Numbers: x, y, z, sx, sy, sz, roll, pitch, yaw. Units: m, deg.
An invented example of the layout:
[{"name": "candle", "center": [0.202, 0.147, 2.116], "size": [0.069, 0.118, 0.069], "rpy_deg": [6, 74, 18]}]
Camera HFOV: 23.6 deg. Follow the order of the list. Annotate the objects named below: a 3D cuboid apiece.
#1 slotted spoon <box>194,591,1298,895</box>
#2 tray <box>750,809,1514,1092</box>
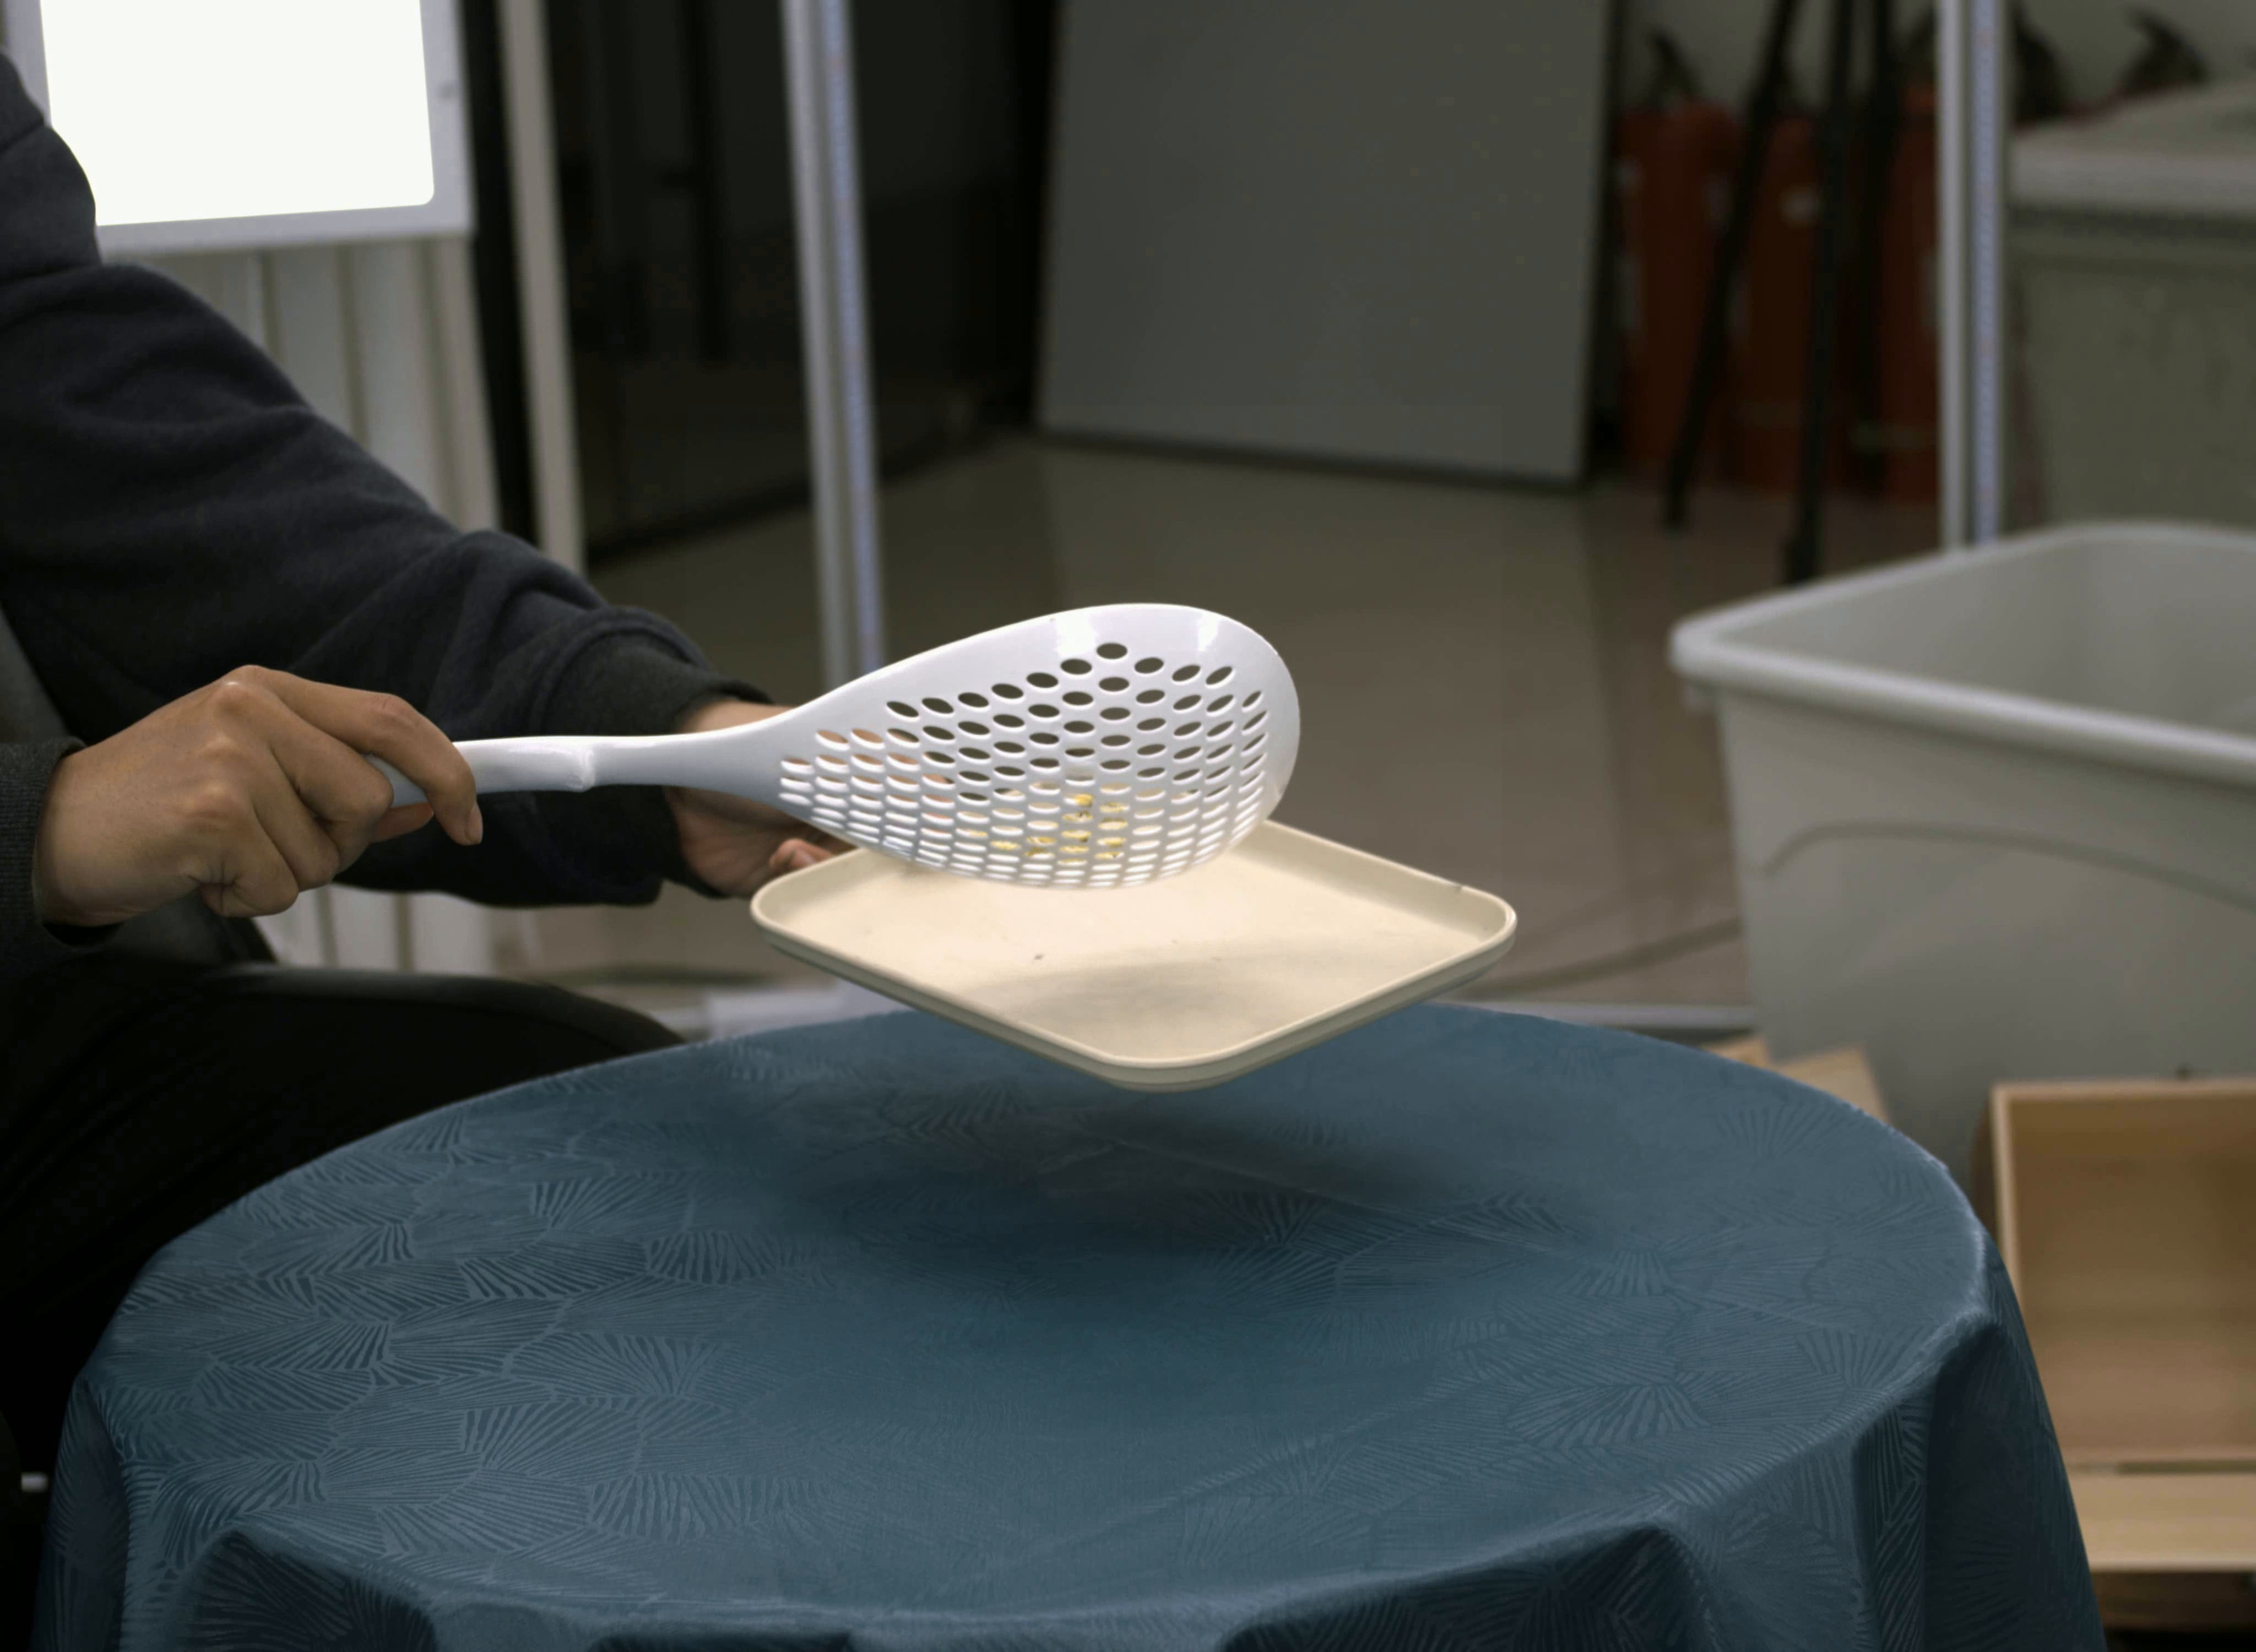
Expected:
[{"name": "slotted spoon", "center": [-0.116, -0.017, 1.692], "size": [0.342, 0.137, 0.051], "rpy_deg": [3, 49, -5]}, {"name": "tray", "center": [0.000, 0.033, 1.783], "size": [0.168, 0.017, 0.242], "rpy_deg": [-21, 25, -34]}]
